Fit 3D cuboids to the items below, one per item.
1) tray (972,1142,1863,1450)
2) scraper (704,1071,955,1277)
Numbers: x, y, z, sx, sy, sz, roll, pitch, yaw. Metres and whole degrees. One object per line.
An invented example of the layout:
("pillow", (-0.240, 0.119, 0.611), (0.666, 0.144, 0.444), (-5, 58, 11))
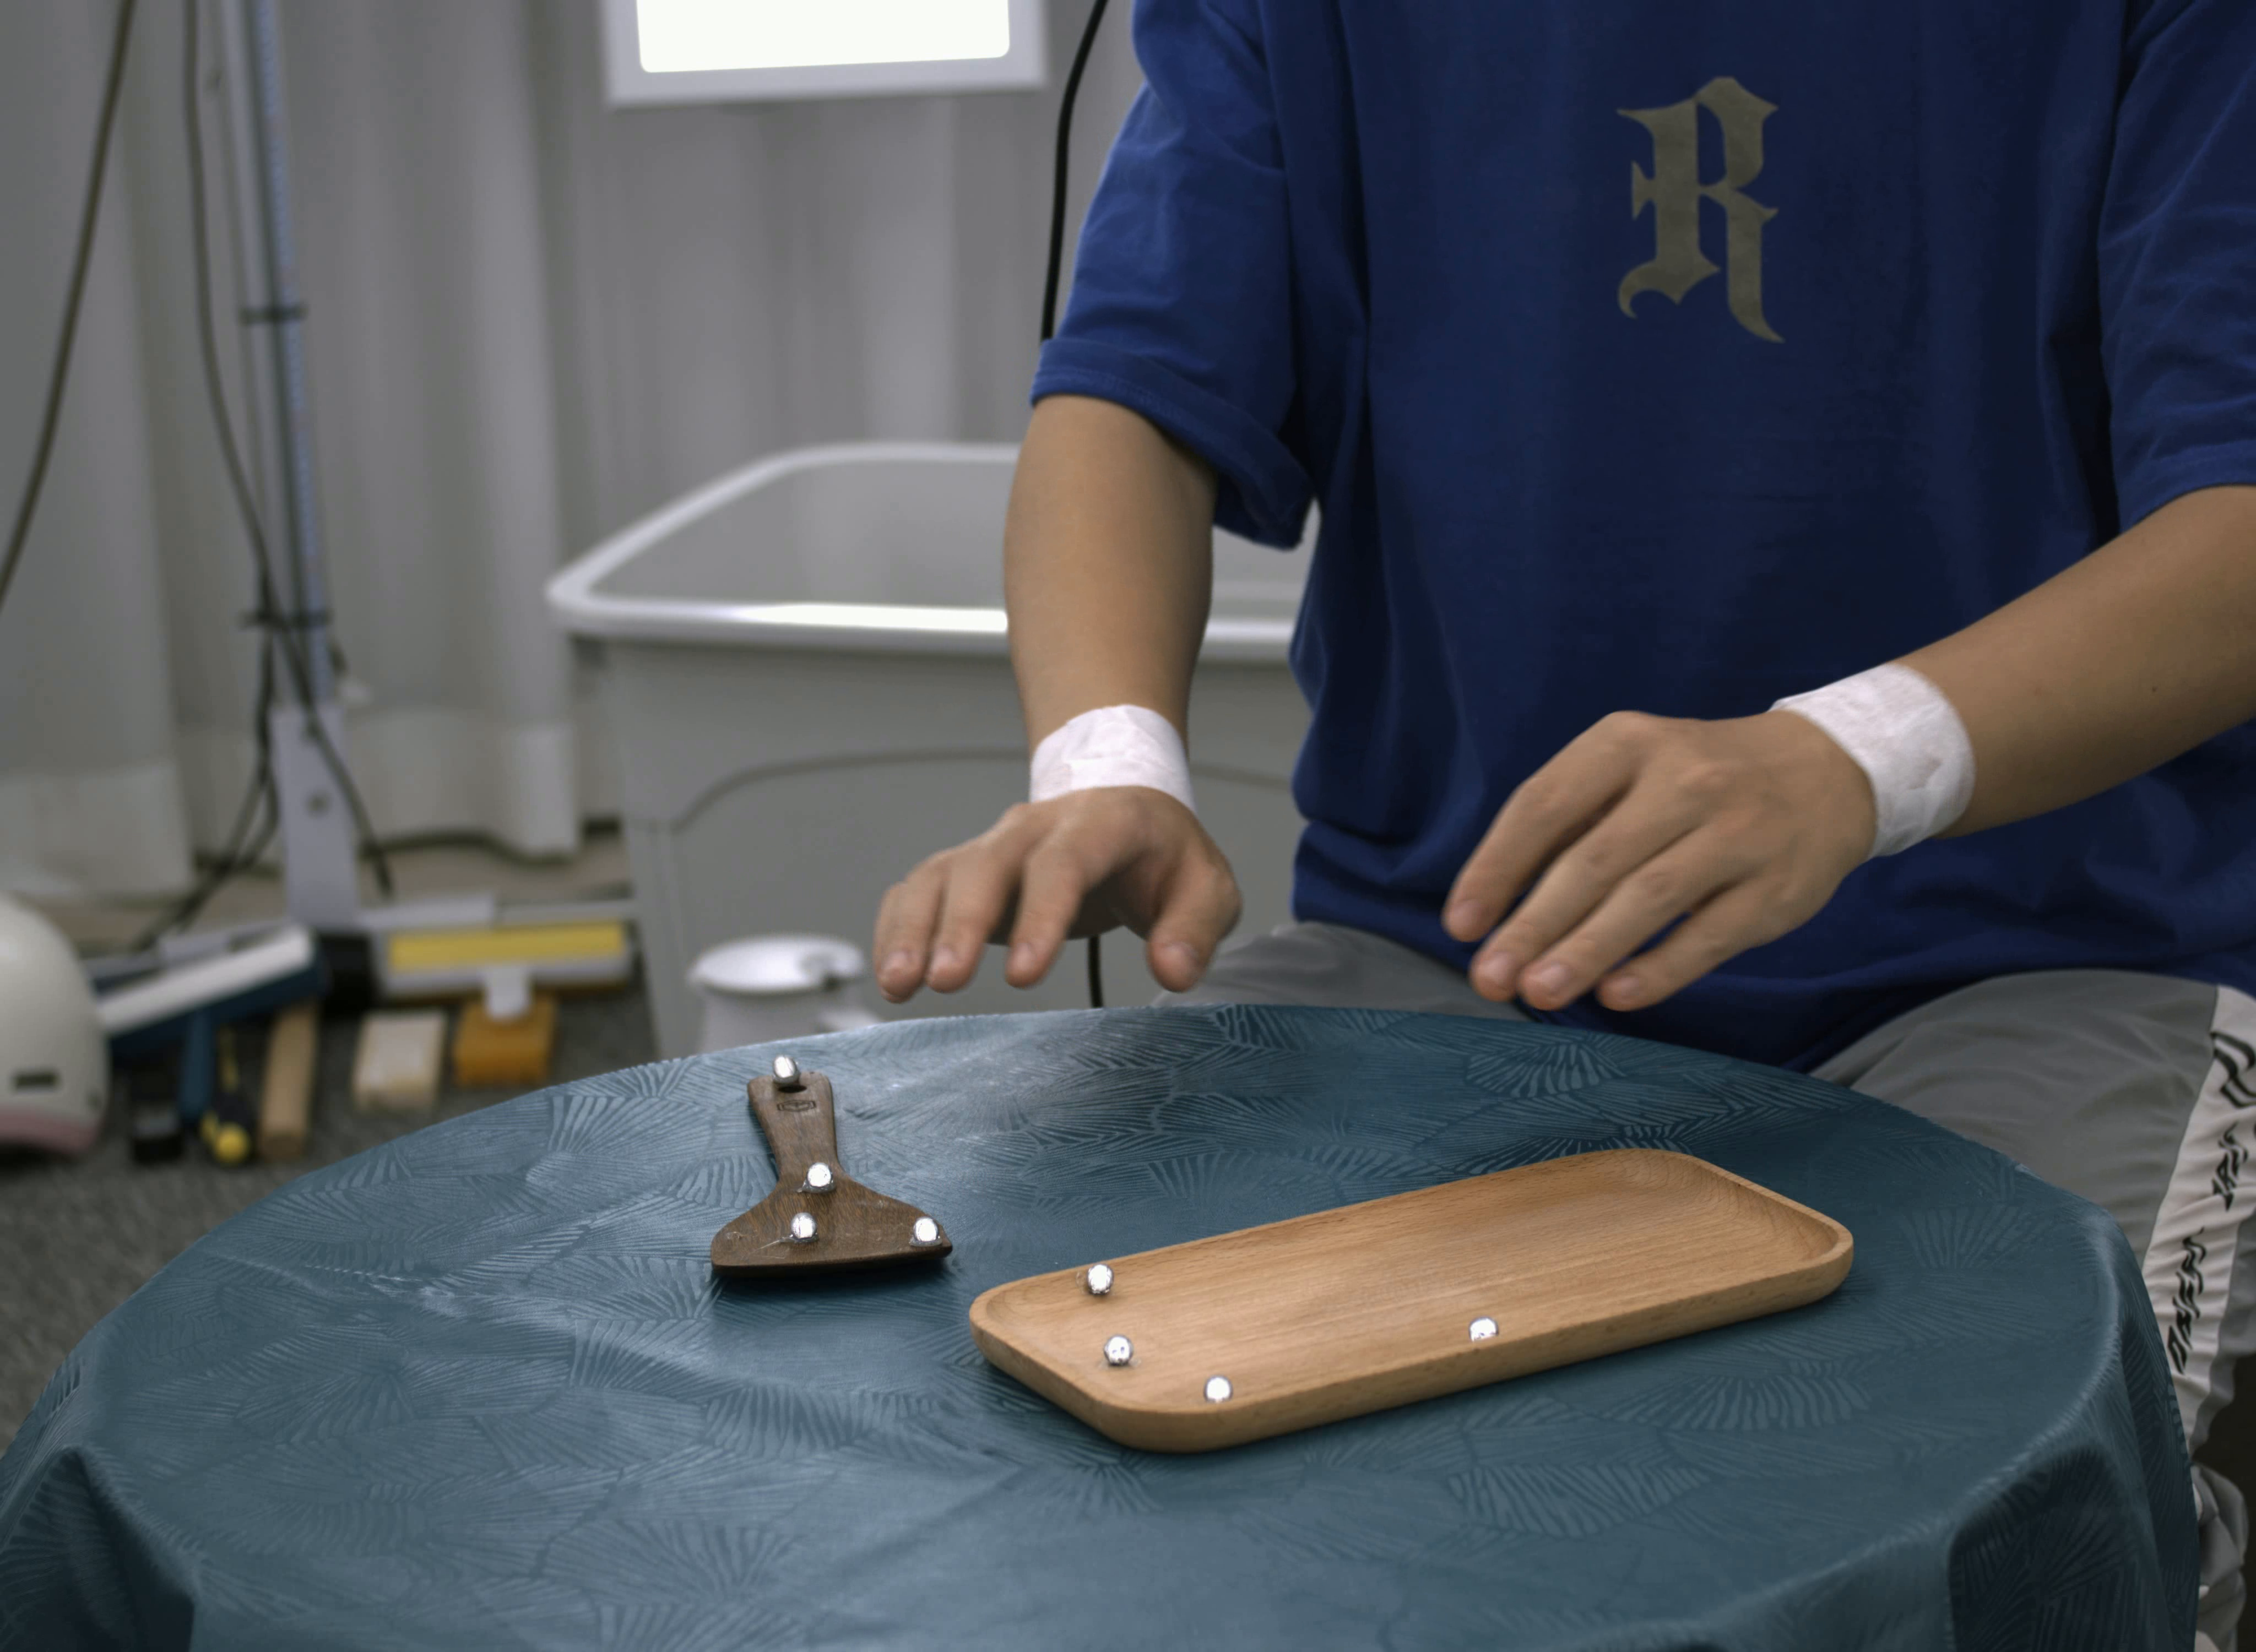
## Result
("tray", (0.085, 0.135, 1.585), (0.249, 0.023, 0.131), (-10, 19, -26))
("scraper", (-0.101, 0.110, 1.733), (0.075, 0.011, 0.213), (-4, 14, -7))
